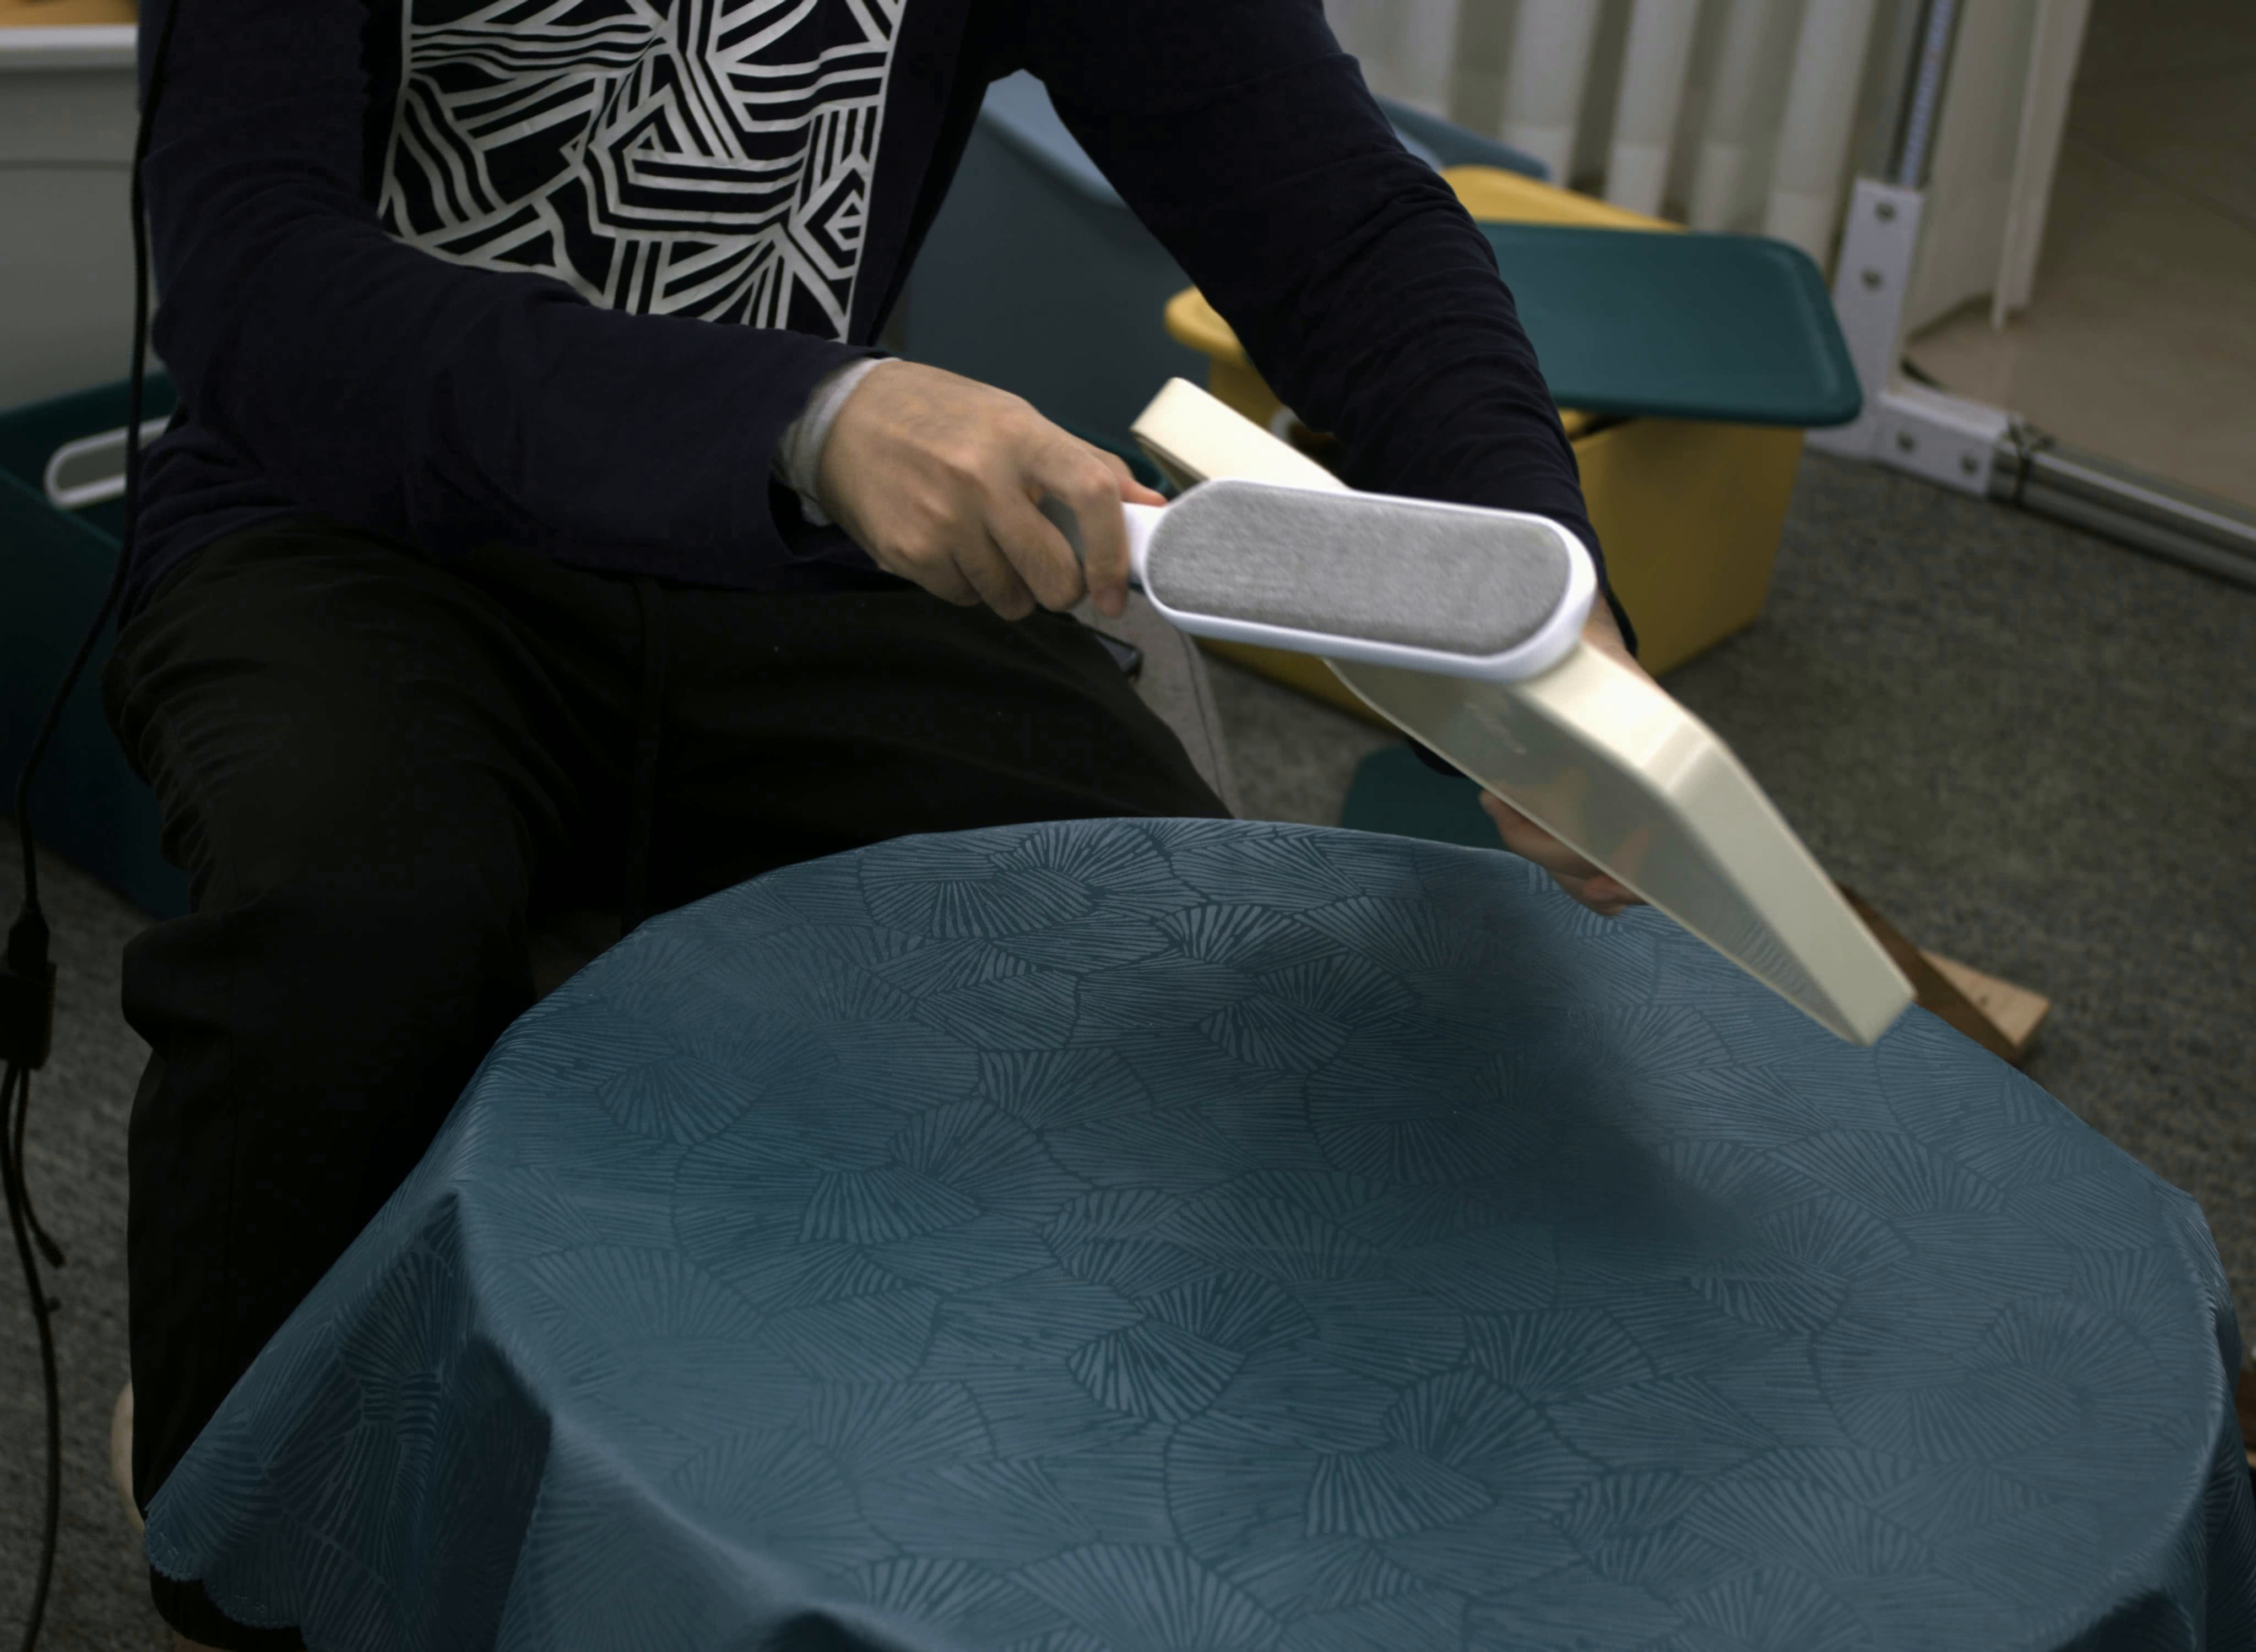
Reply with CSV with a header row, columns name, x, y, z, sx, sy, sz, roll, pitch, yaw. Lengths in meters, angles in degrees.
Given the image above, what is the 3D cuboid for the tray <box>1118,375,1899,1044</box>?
name,x,y,z,sx,sy,sz,roll,pitch,yaw
tray,0.127,-0.042,1.831,0.027,0.190,0.303,-48,44,-5

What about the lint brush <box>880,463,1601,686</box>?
name,x,y,z,sx,sy,sz,roll,pitch,yaw
lint brush,0.031,-0.092,1.789,0.311,0.060,0.021,11,-15,41
